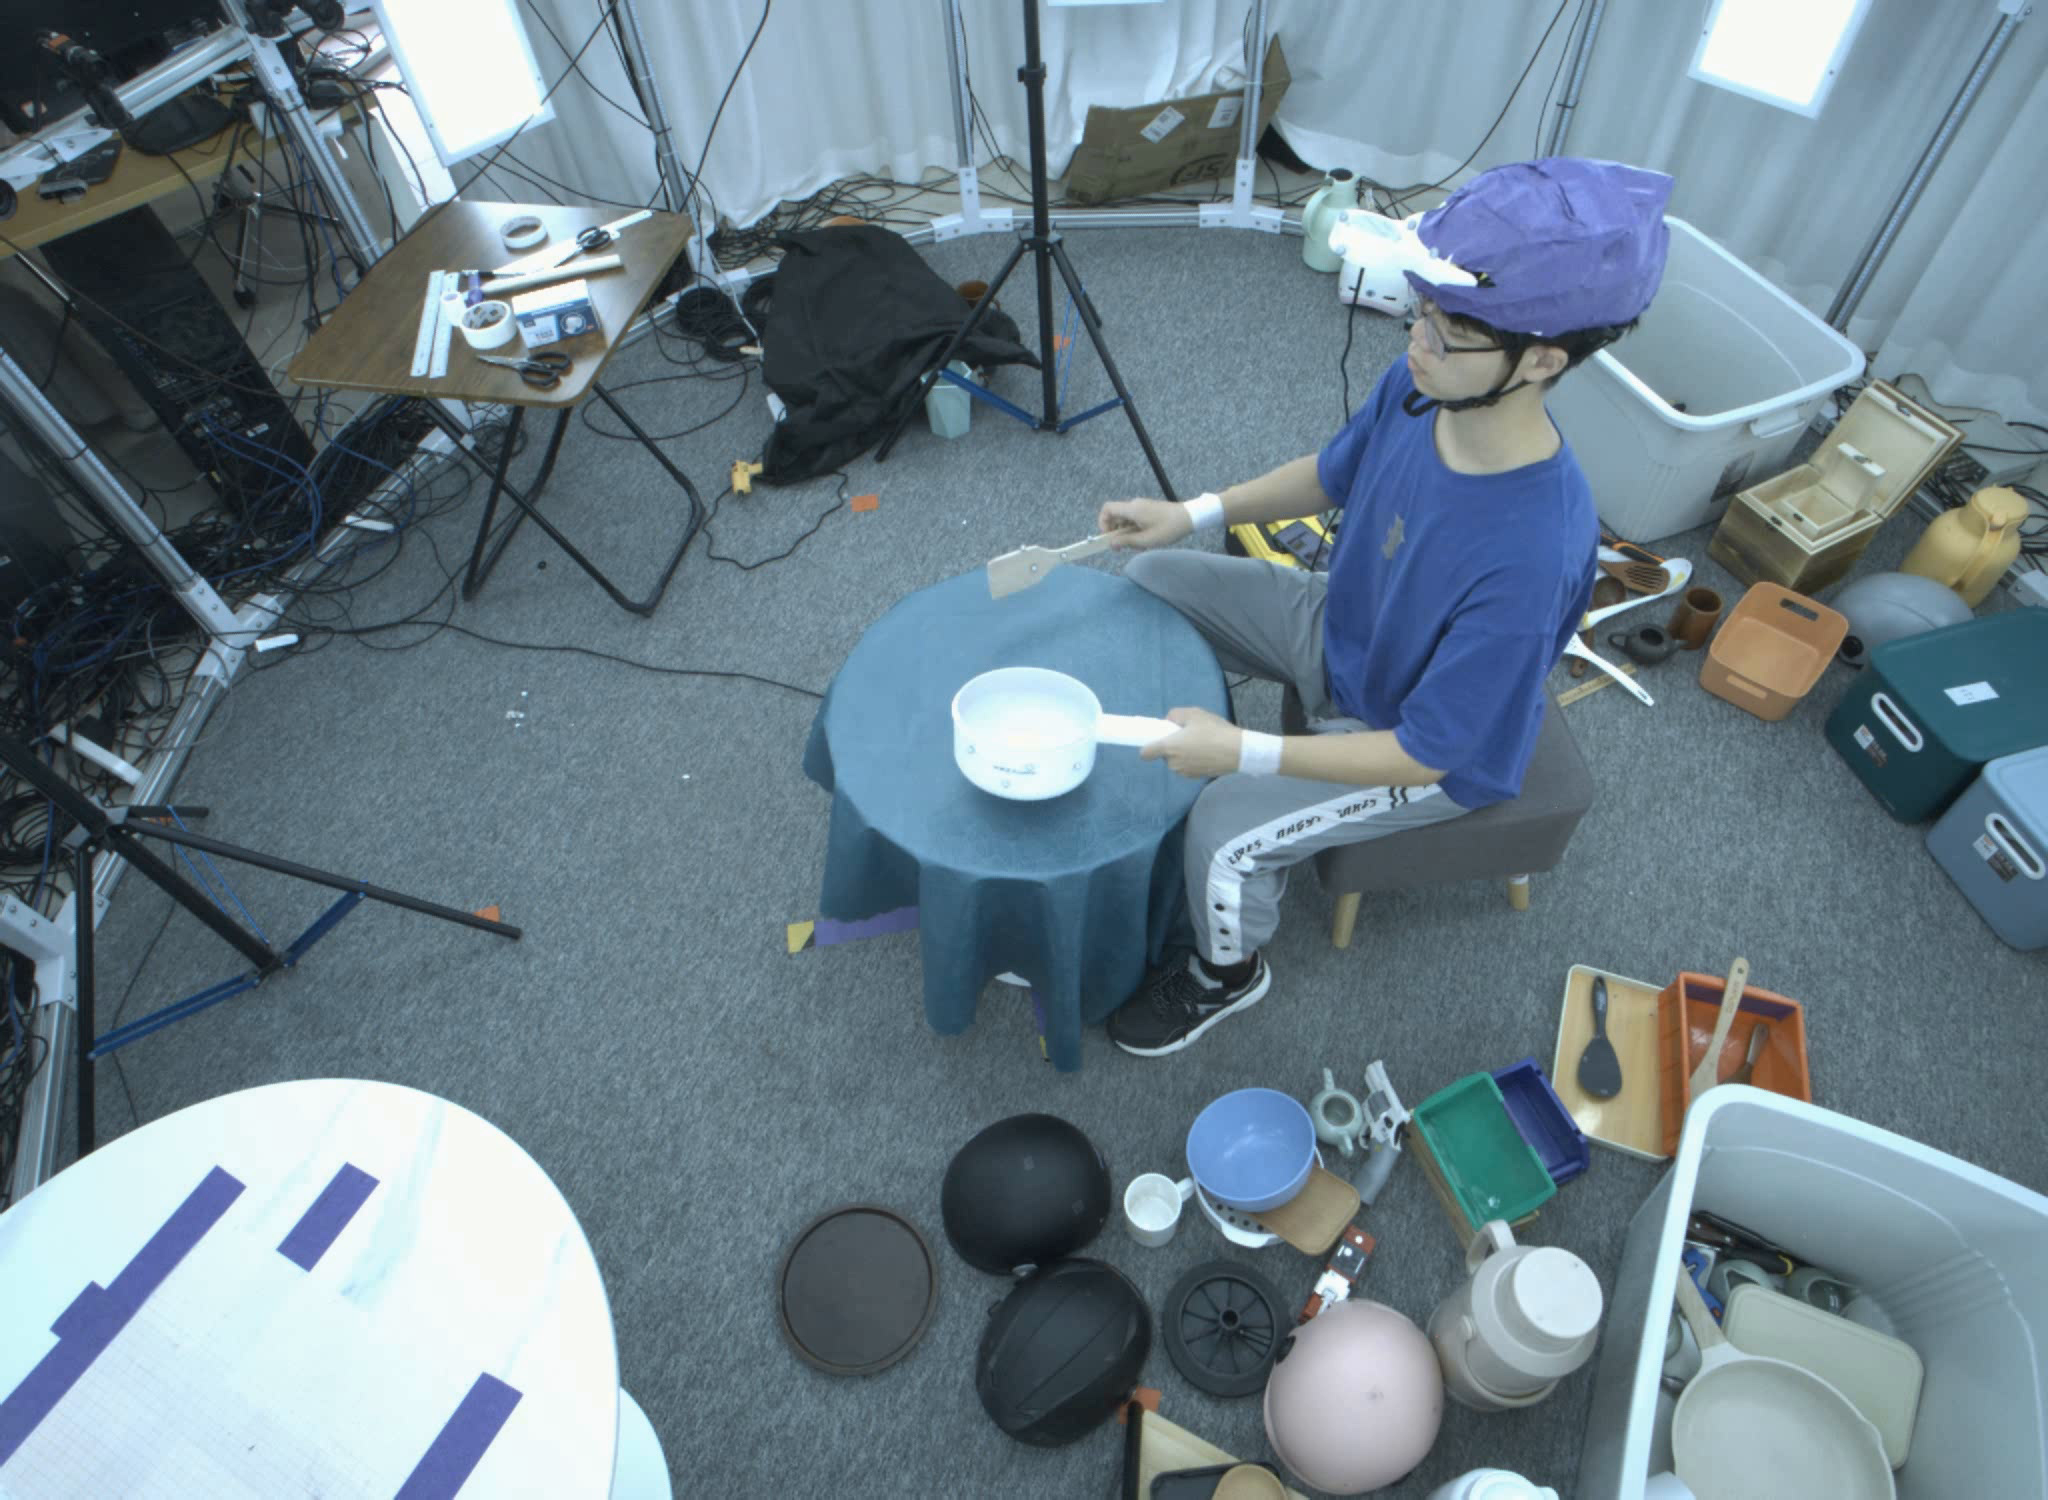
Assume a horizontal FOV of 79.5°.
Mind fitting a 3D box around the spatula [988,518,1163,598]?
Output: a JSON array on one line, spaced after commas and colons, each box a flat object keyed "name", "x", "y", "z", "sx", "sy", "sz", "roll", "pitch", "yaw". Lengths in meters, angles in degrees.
[{"name": "spatula", "x": 0.081, "y": -0.304, "z": 1.872, "sx": 0.295, "sy": 0.073, "sz": 0.010, "roll": -20, "pitch": 42, "yaw": -15}]

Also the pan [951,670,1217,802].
[{"name": "pan", "x": 0.078, "y": -0.007, "z": 1.661, "sx": 0.354, "sy": 0.103, "sz": 0.200, "roll": 6, "pitch": 35, "yaw": 3}]
